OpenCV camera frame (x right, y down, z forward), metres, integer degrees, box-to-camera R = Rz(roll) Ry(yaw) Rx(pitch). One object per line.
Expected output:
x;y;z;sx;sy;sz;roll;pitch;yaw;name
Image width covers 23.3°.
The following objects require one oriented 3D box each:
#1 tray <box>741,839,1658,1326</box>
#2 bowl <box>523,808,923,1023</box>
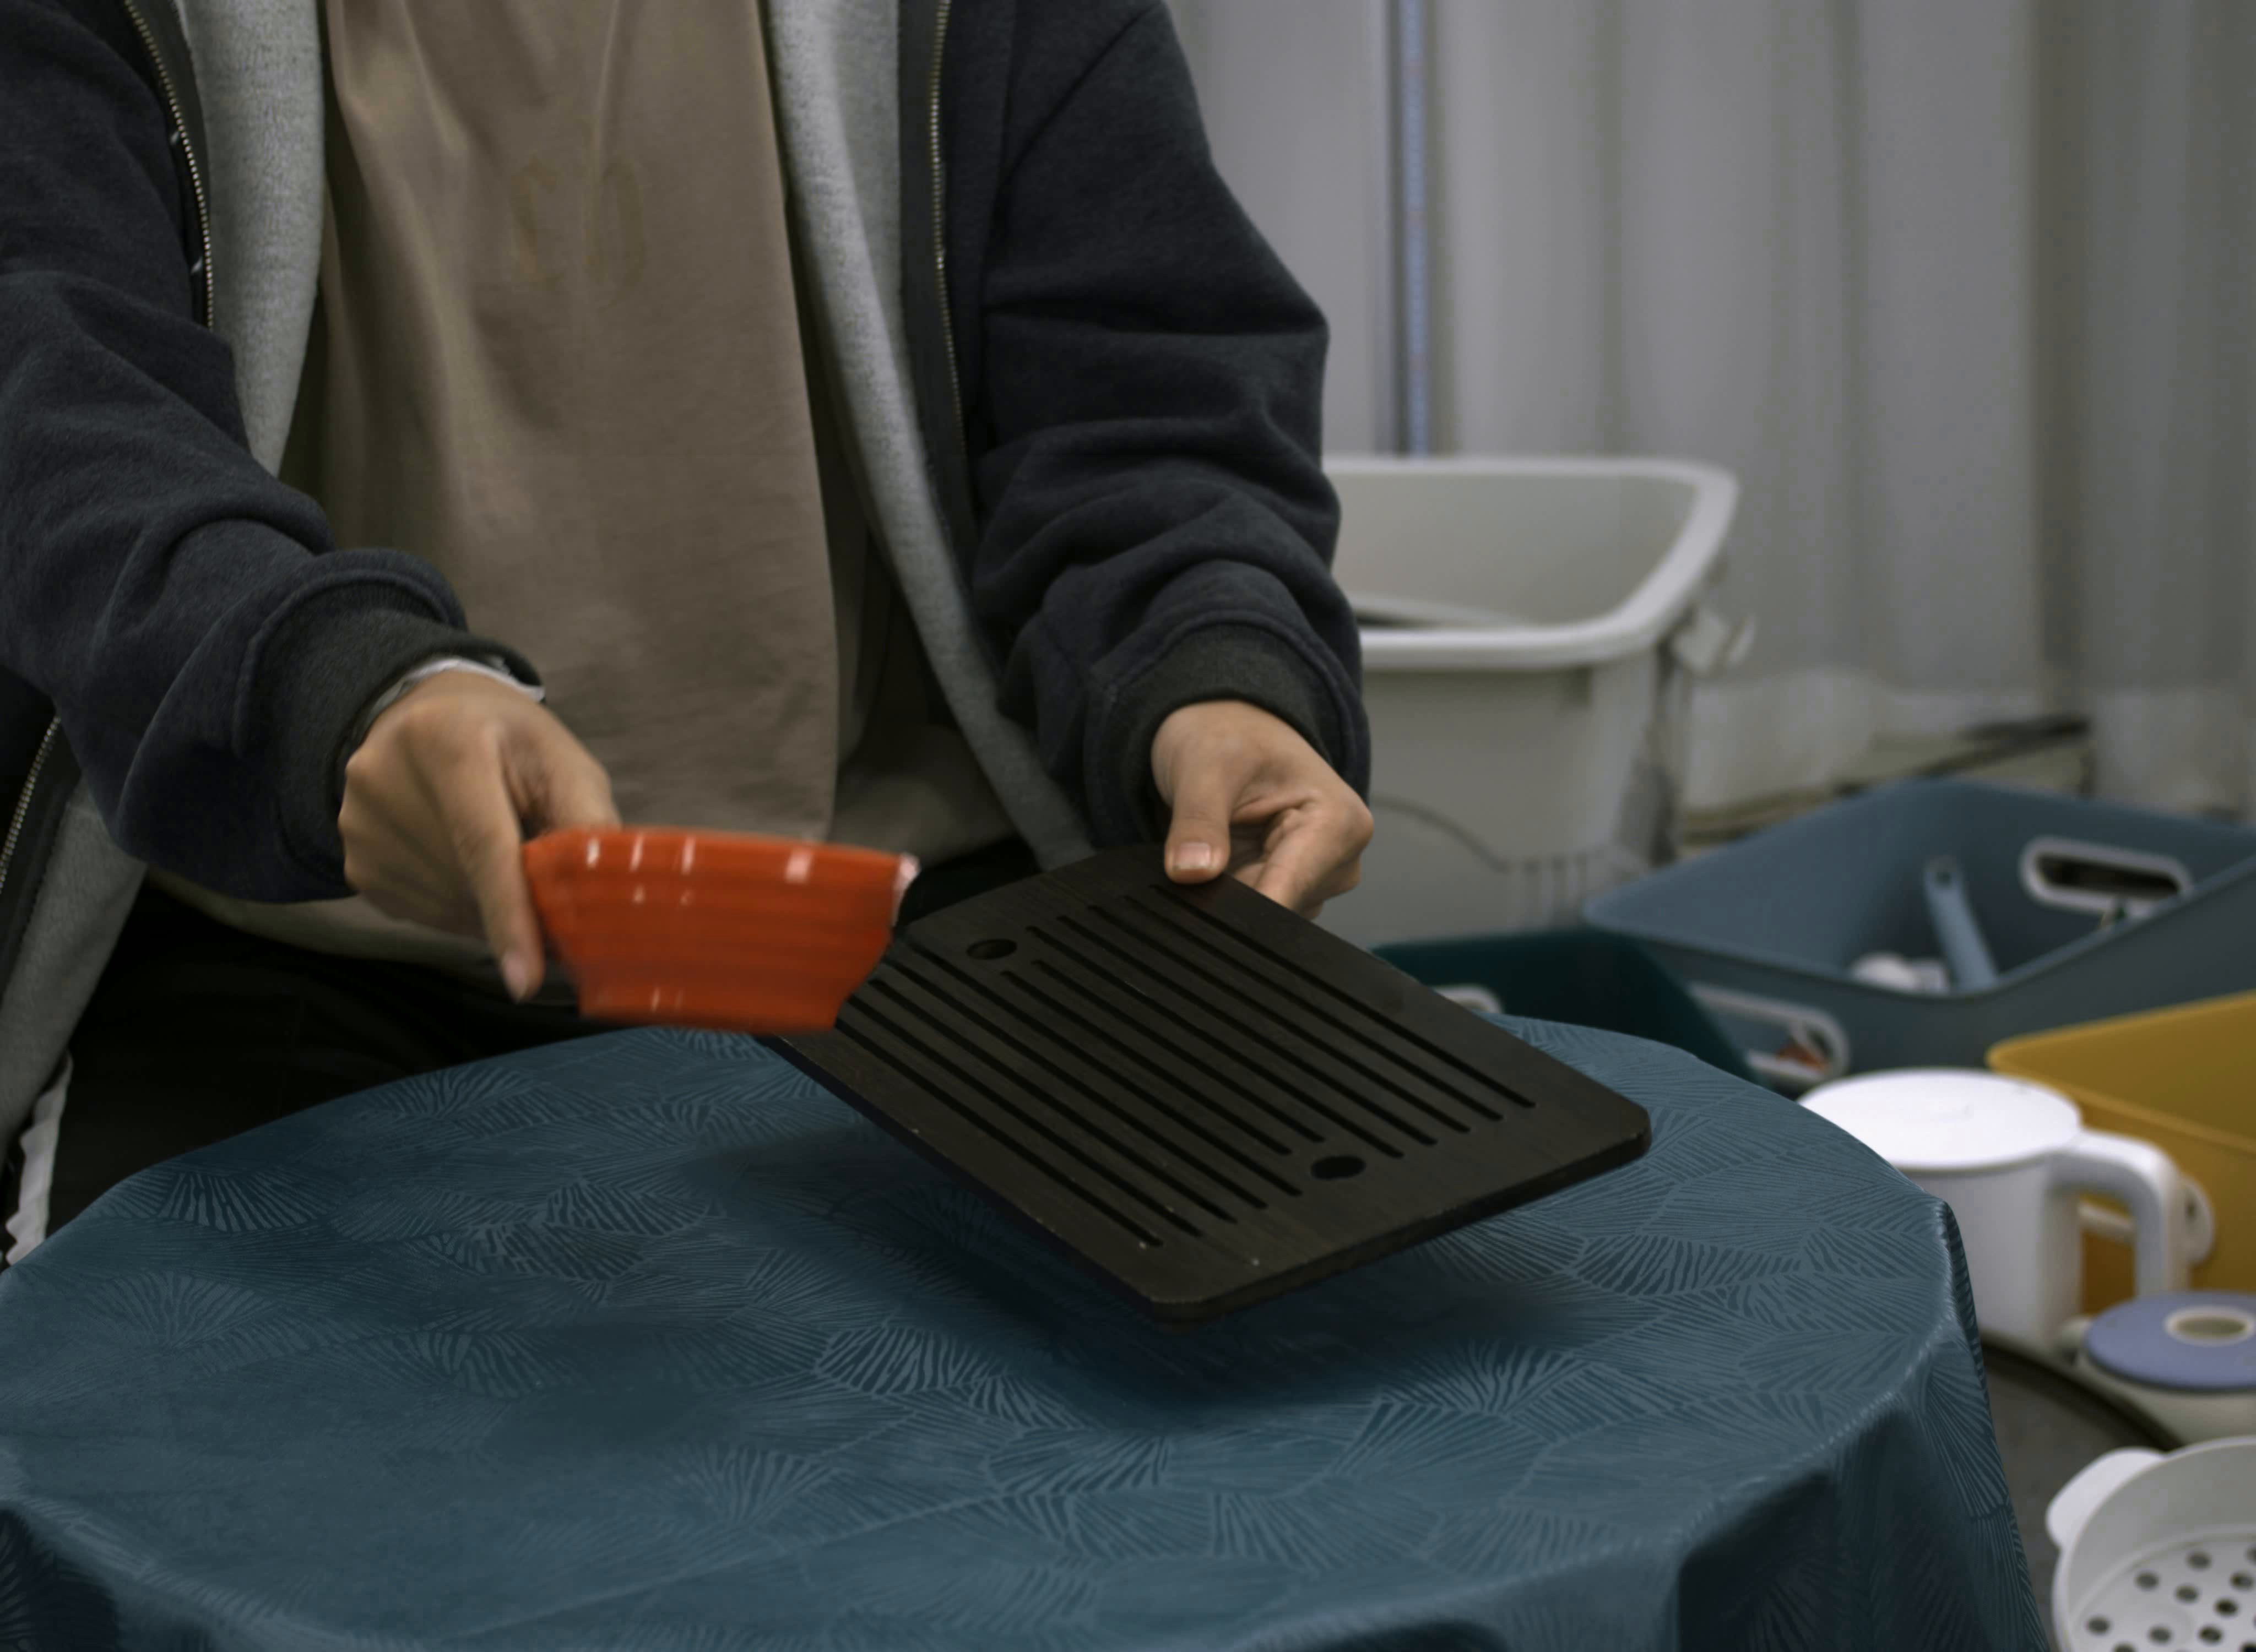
0.013;0.074;1.677;0.170;0.018;0.308;-18;24;-24;tray
-0.119;0.028;1.585;0.118;0.052;0.118;4;-7;0;bowl
